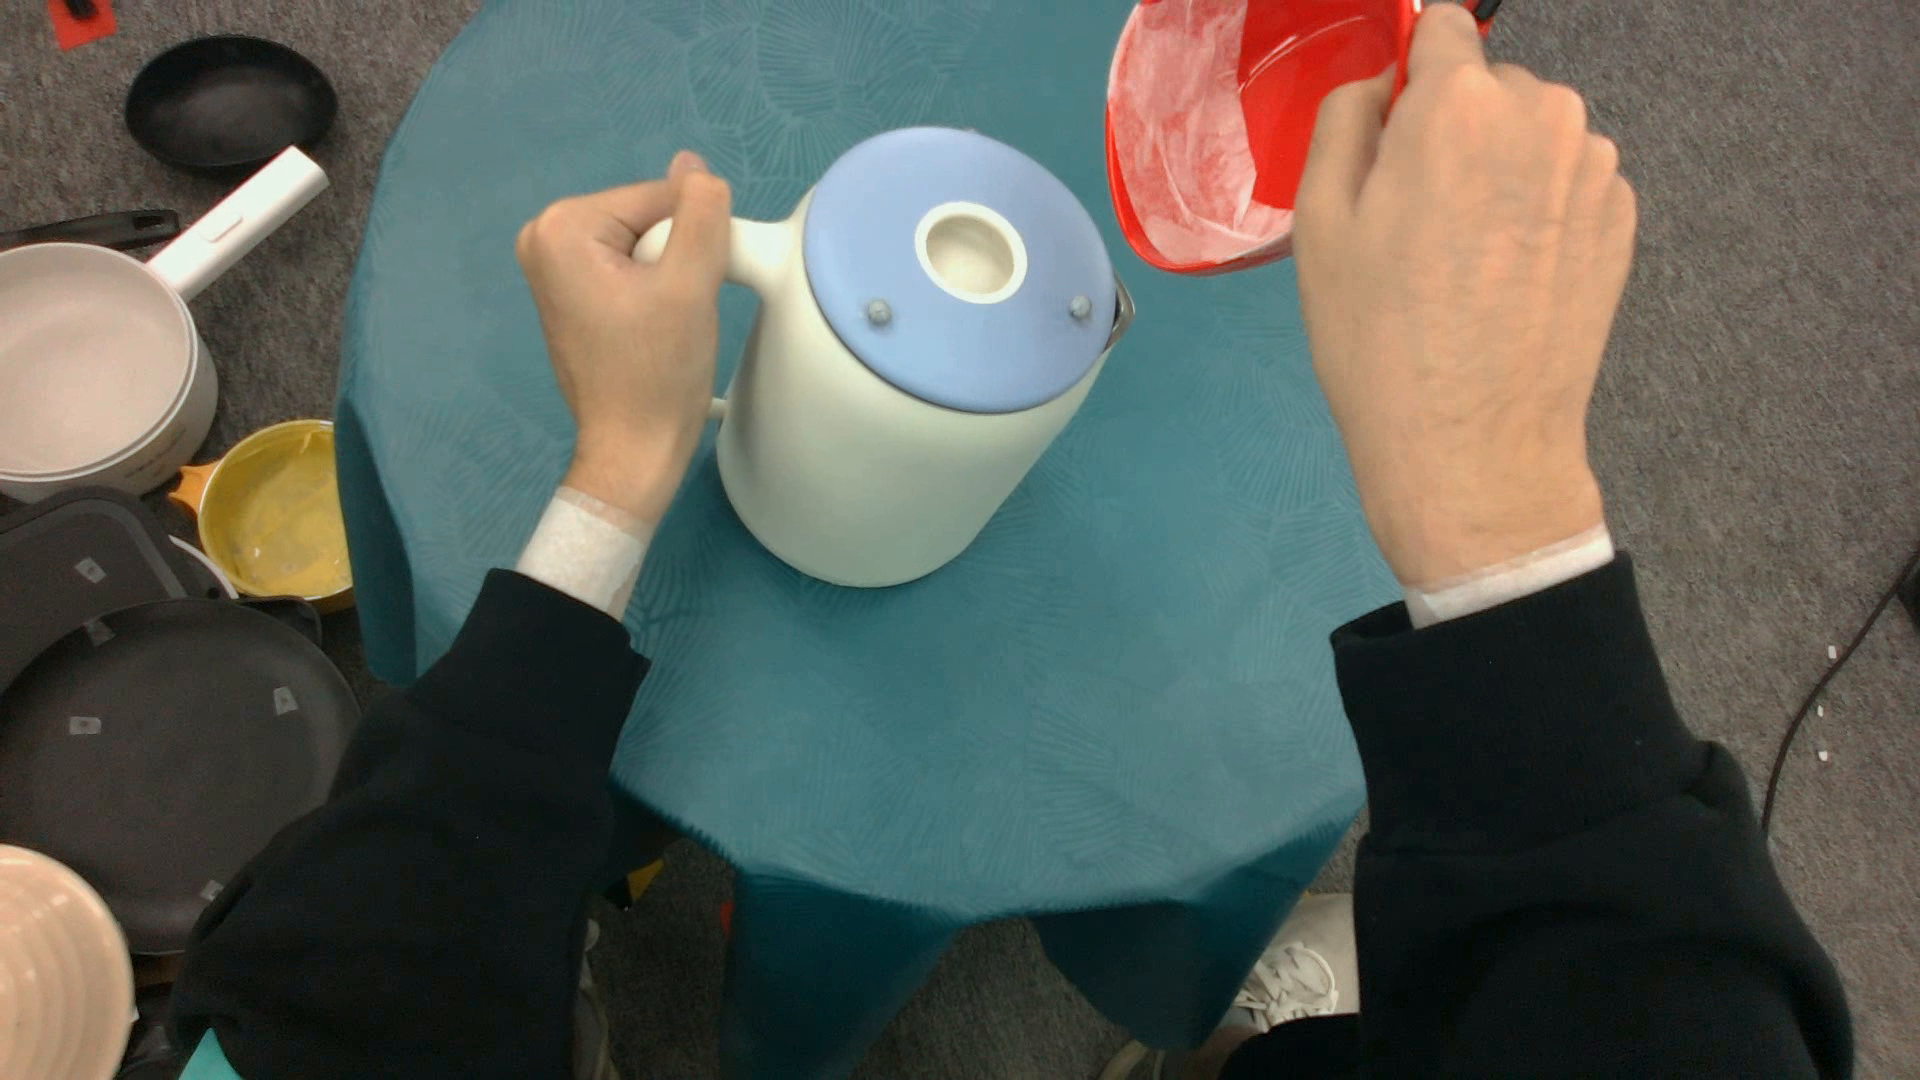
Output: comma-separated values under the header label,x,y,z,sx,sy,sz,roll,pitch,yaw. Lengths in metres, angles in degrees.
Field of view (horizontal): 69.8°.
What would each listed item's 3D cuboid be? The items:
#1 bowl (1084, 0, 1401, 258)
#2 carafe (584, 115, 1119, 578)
label,x,y,z,sx,sy,sz,roll,pitch,yaw
bowl,0.096,-0.140,0.438,0.051,0.118,0.119,13,63,-41
carafe,-0.054,-0.076,0.561,0.191,0.181,0.132,8,64,-15
